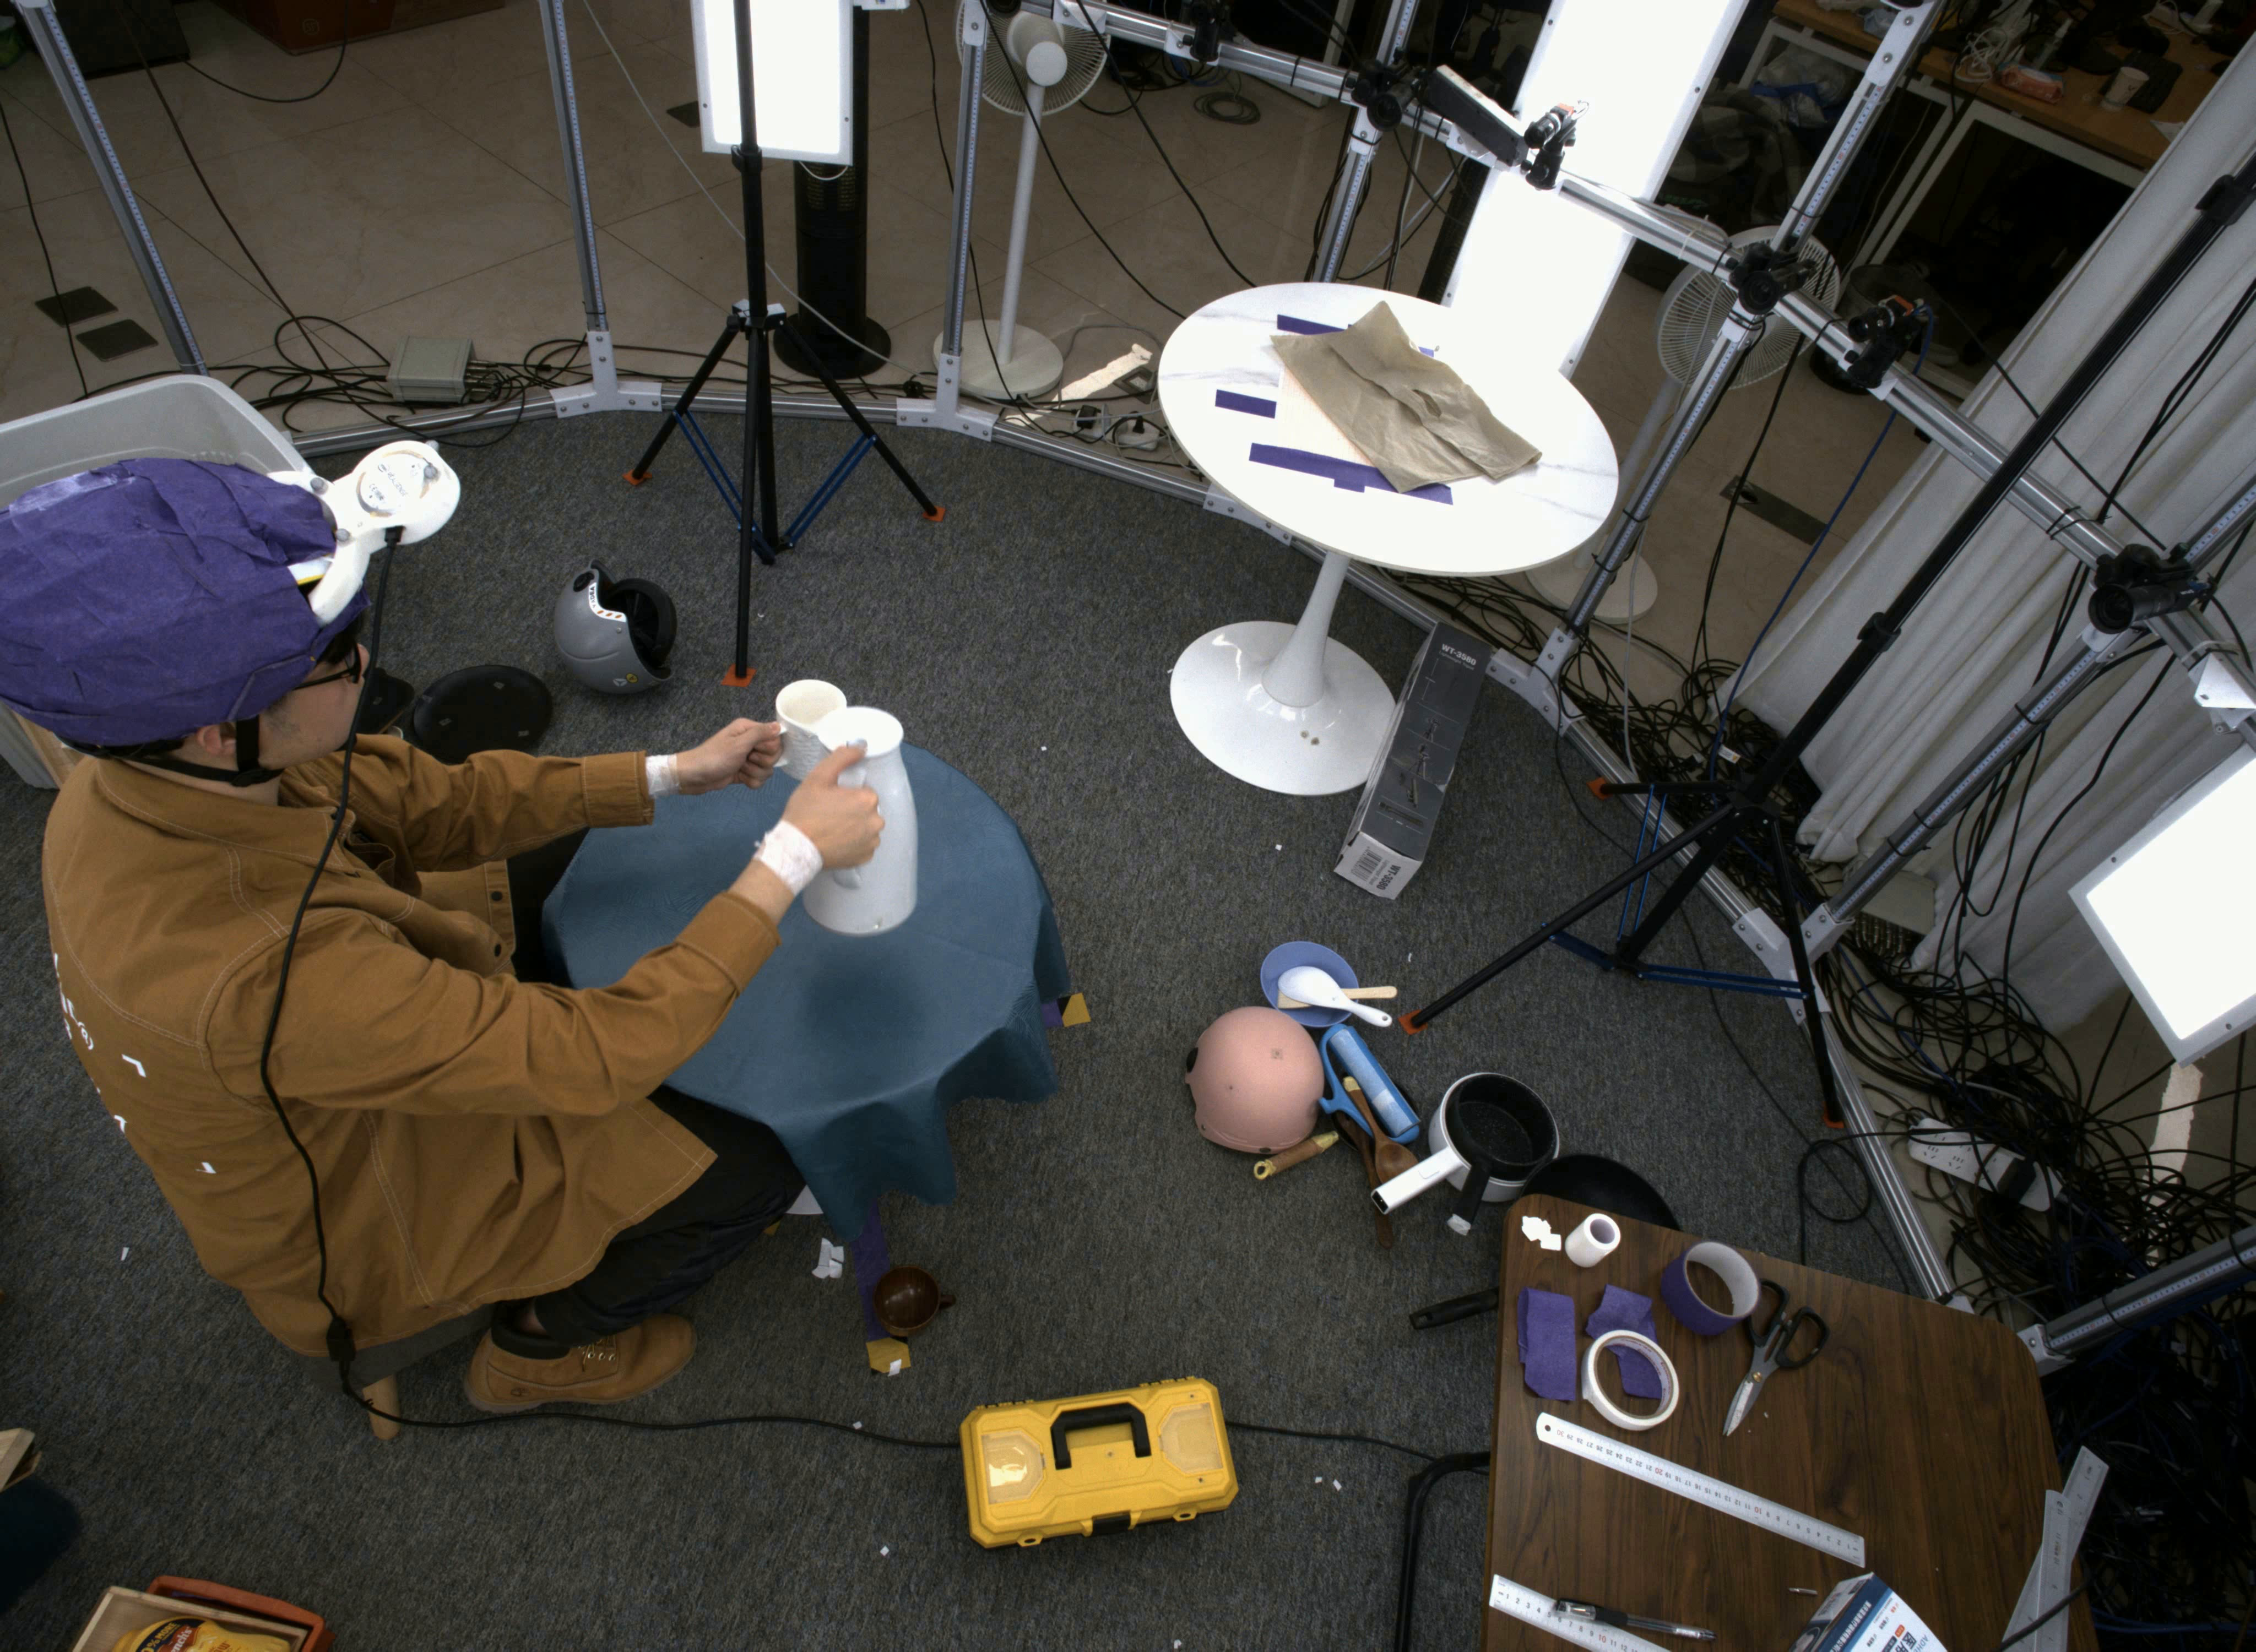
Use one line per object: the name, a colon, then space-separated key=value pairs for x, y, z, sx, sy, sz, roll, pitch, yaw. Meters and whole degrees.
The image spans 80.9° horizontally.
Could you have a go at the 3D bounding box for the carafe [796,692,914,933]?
carafe: x=-0.300 y=-0.010 z=1.419 sx=0.132 sy=0.255 sz=0.164 roll=4 pitch=37 yaw=-6

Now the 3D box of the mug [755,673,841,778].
mug: x=-0.412 y=-0.116 z=1.609 sx=0.083 sy=0.104 sz=0.118 roll=36 pitch=49 yaw=21
